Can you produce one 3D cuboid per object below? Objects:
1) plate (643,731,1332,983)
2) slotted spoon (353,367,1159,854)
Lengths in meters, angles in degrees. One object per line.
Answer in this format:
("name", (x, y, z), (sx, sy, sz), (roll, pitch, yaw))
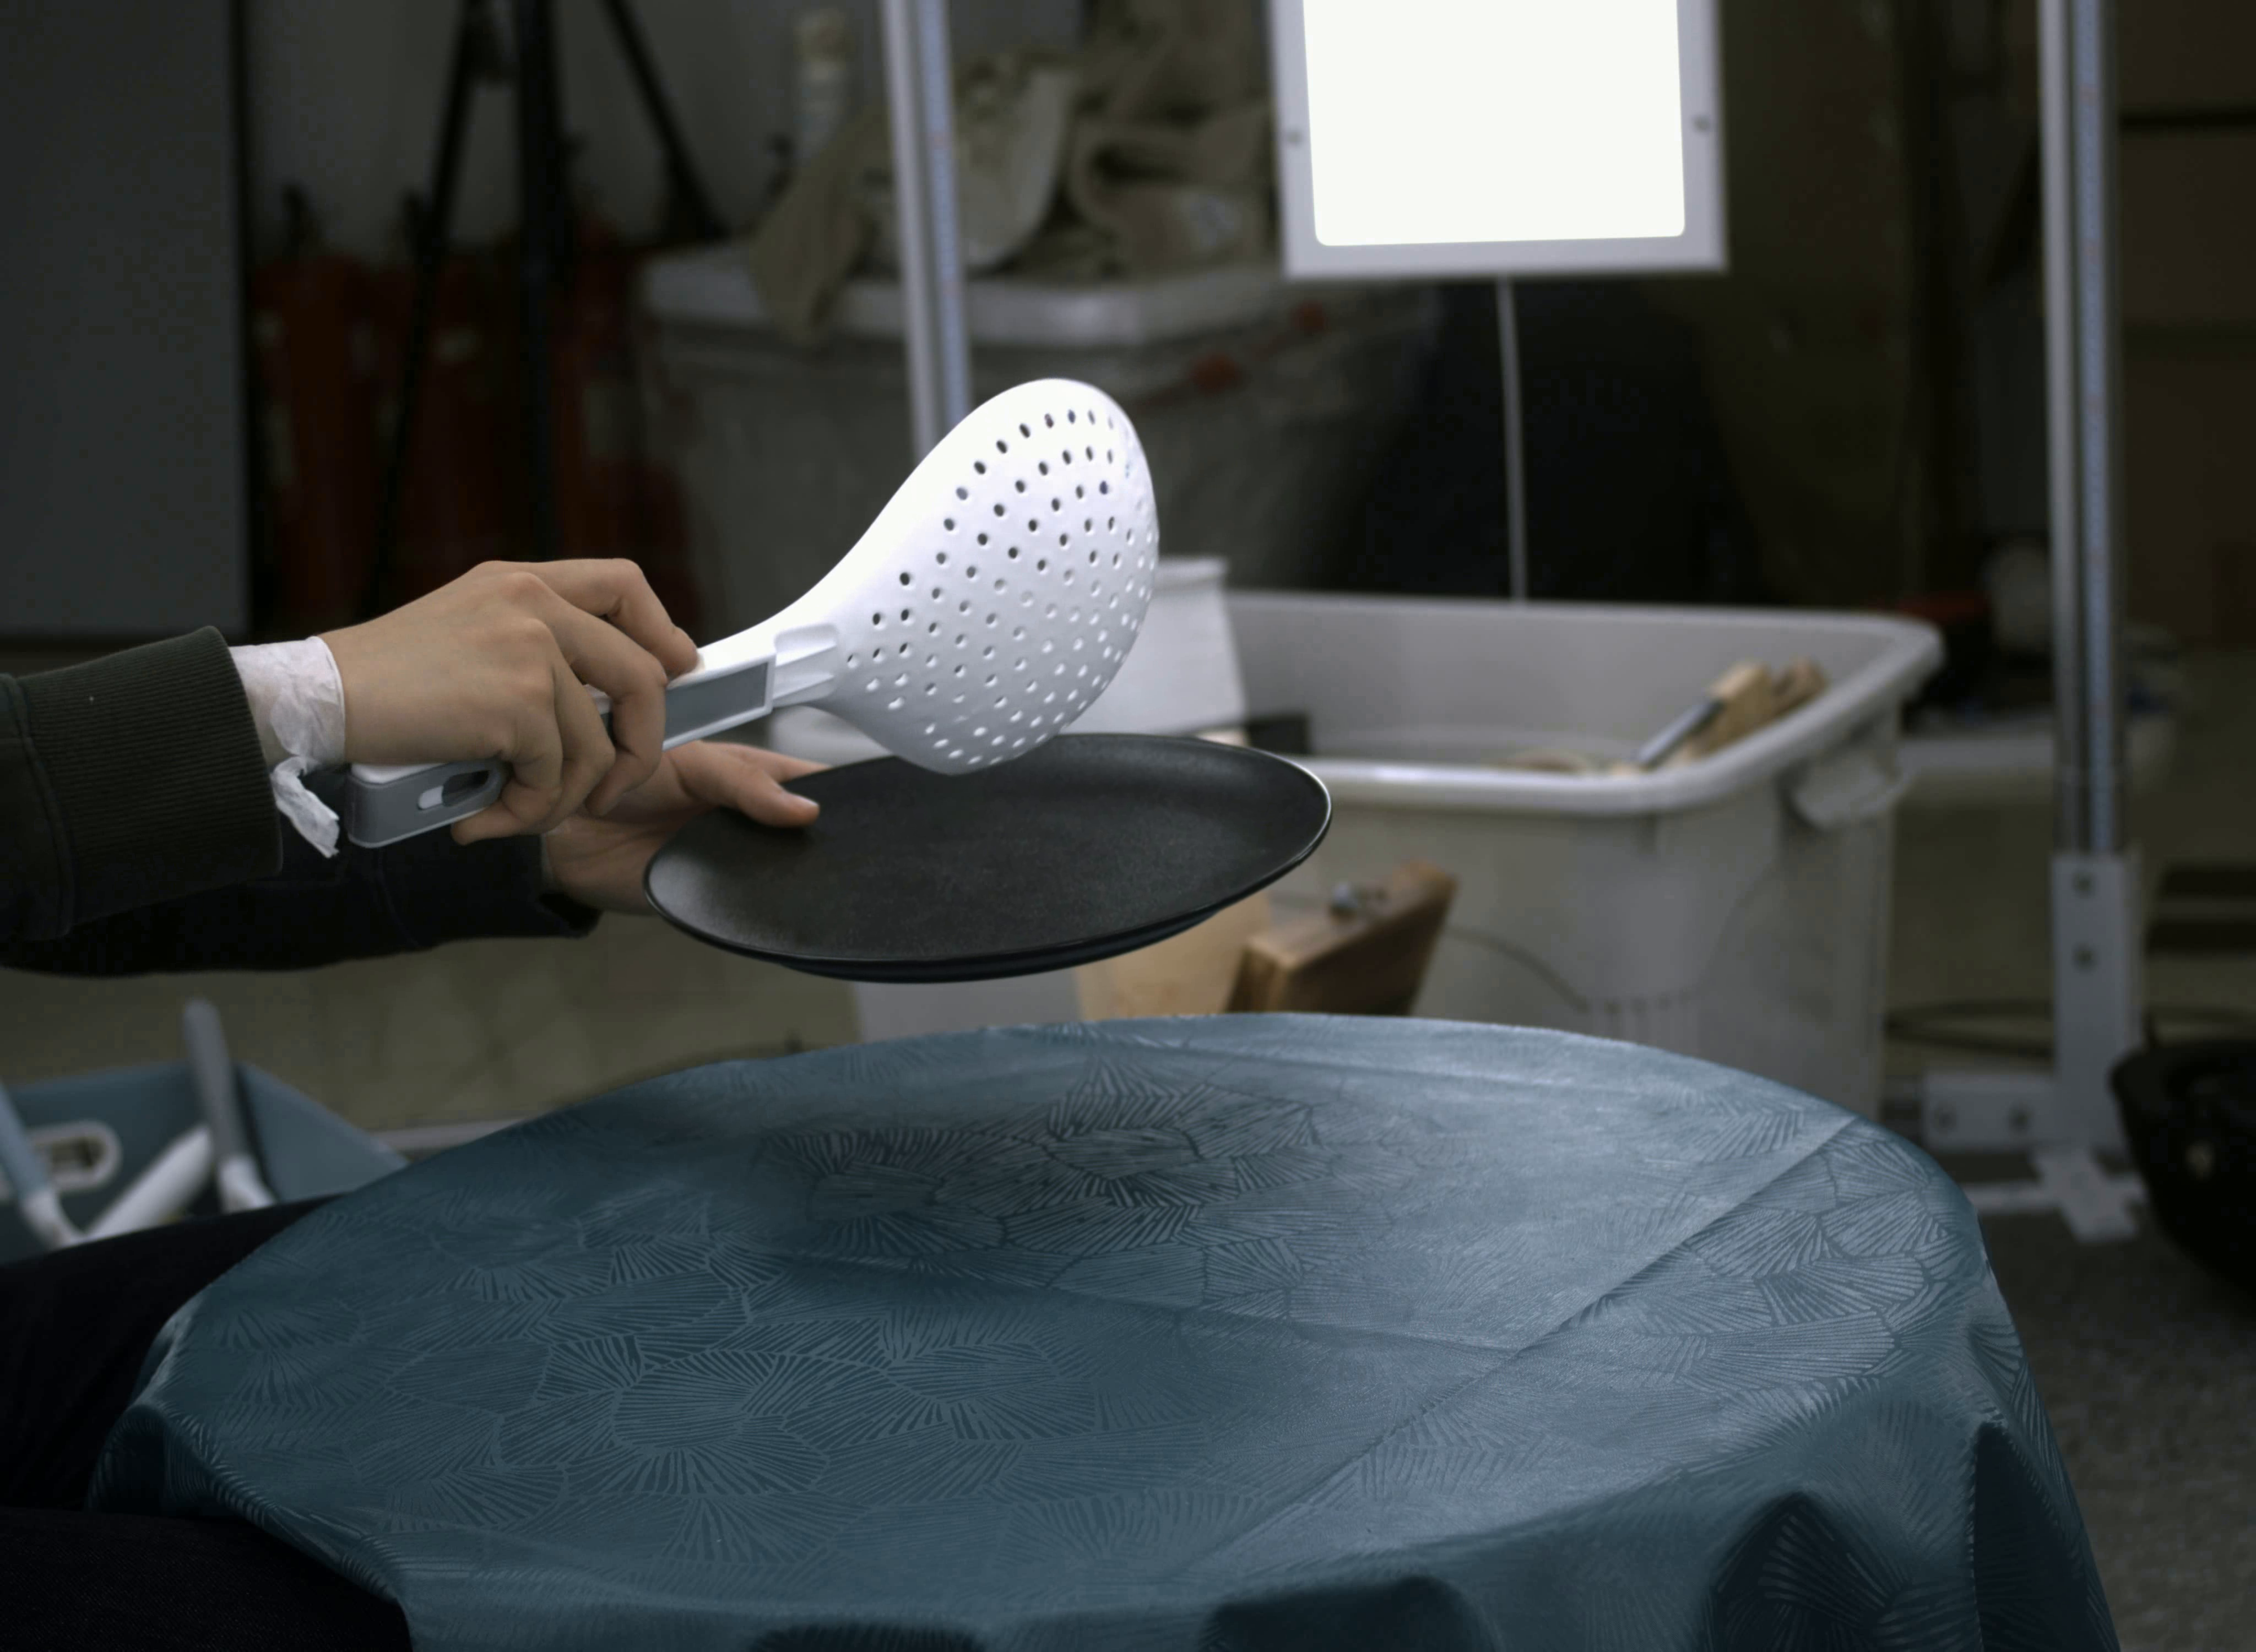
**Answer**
("plate", (-0.048, 0.014, 1.926), (0.244, 0.023, 0.244), (-7, 18, 1))
("slotted spoon", (-0.106, -0.053, 1.725), (0.341, 0.137, 0.046), (-19, 33, -38))
